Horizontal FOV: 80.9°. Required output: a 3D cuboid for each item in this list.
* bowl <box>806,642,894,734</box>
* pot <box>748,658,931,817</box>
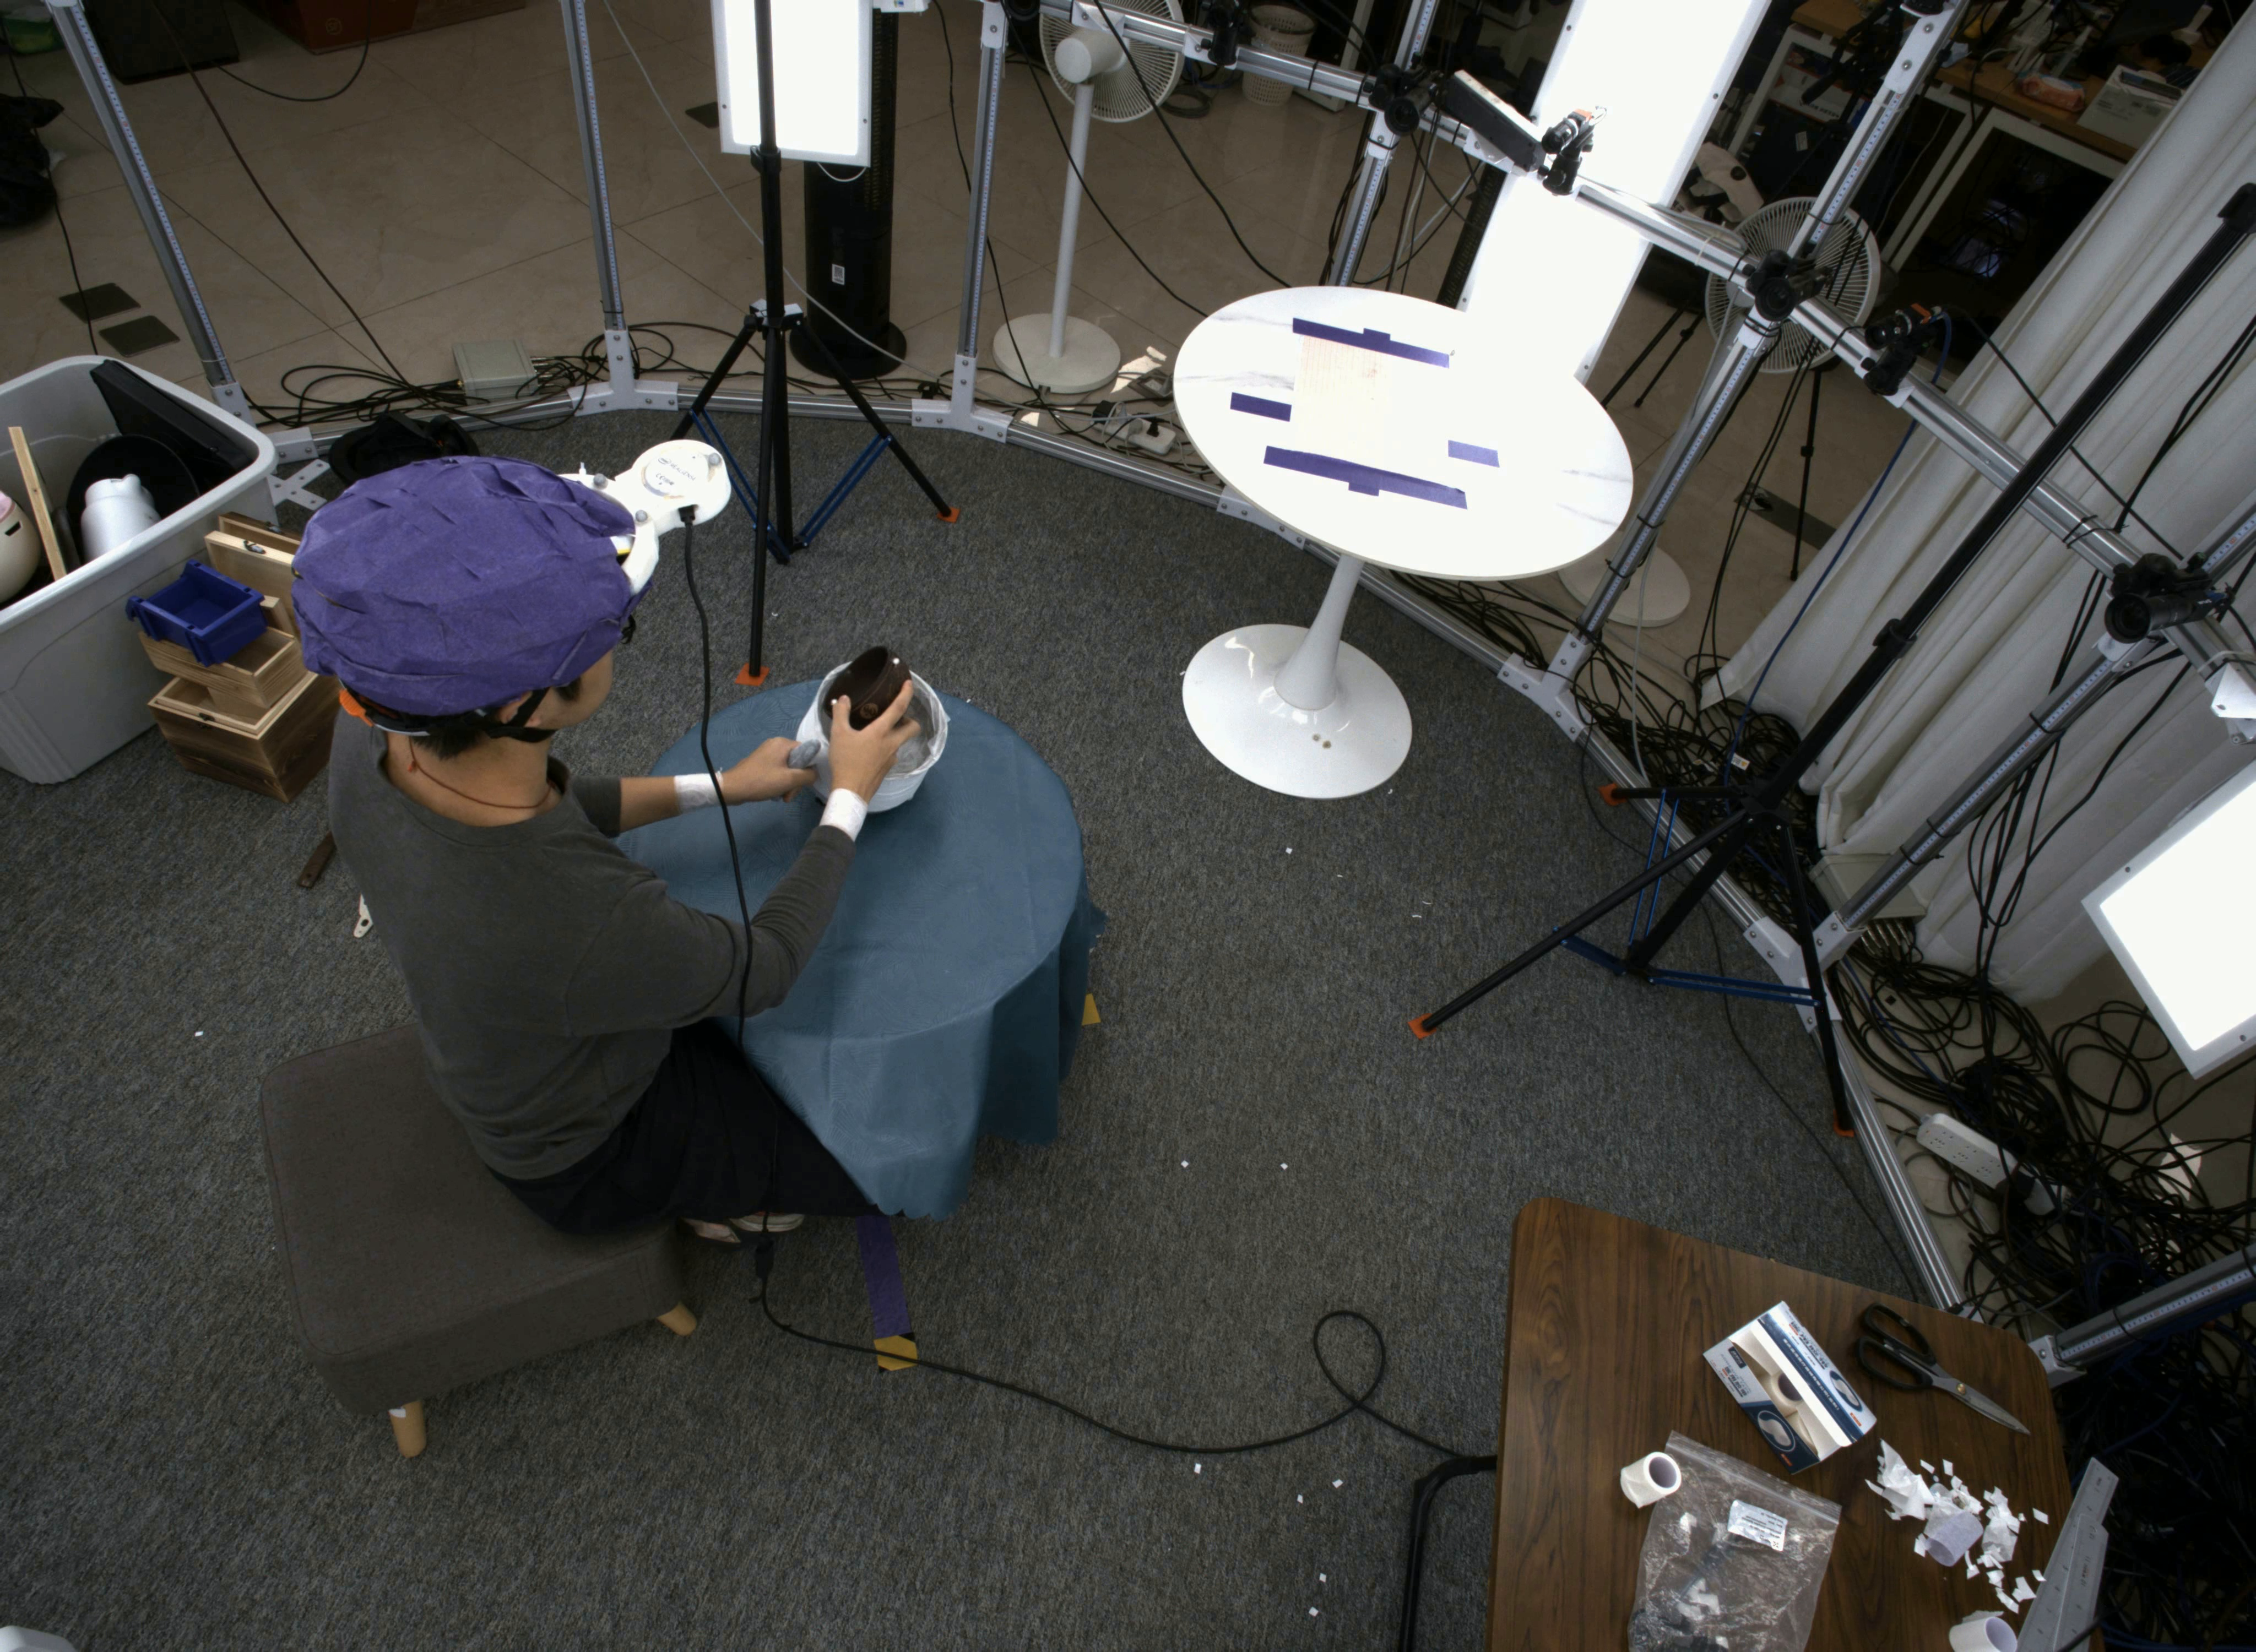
[{"bbox_3d":[-0.345,-0.167,1.651,0.072,0.116,0.116,42,40,-36],"label":"bowl"},{"bbox_3d":[-0.385,-0.102,1.705,0.235,0.136,0.178,-30,83,-38],"label":"pot"}]
